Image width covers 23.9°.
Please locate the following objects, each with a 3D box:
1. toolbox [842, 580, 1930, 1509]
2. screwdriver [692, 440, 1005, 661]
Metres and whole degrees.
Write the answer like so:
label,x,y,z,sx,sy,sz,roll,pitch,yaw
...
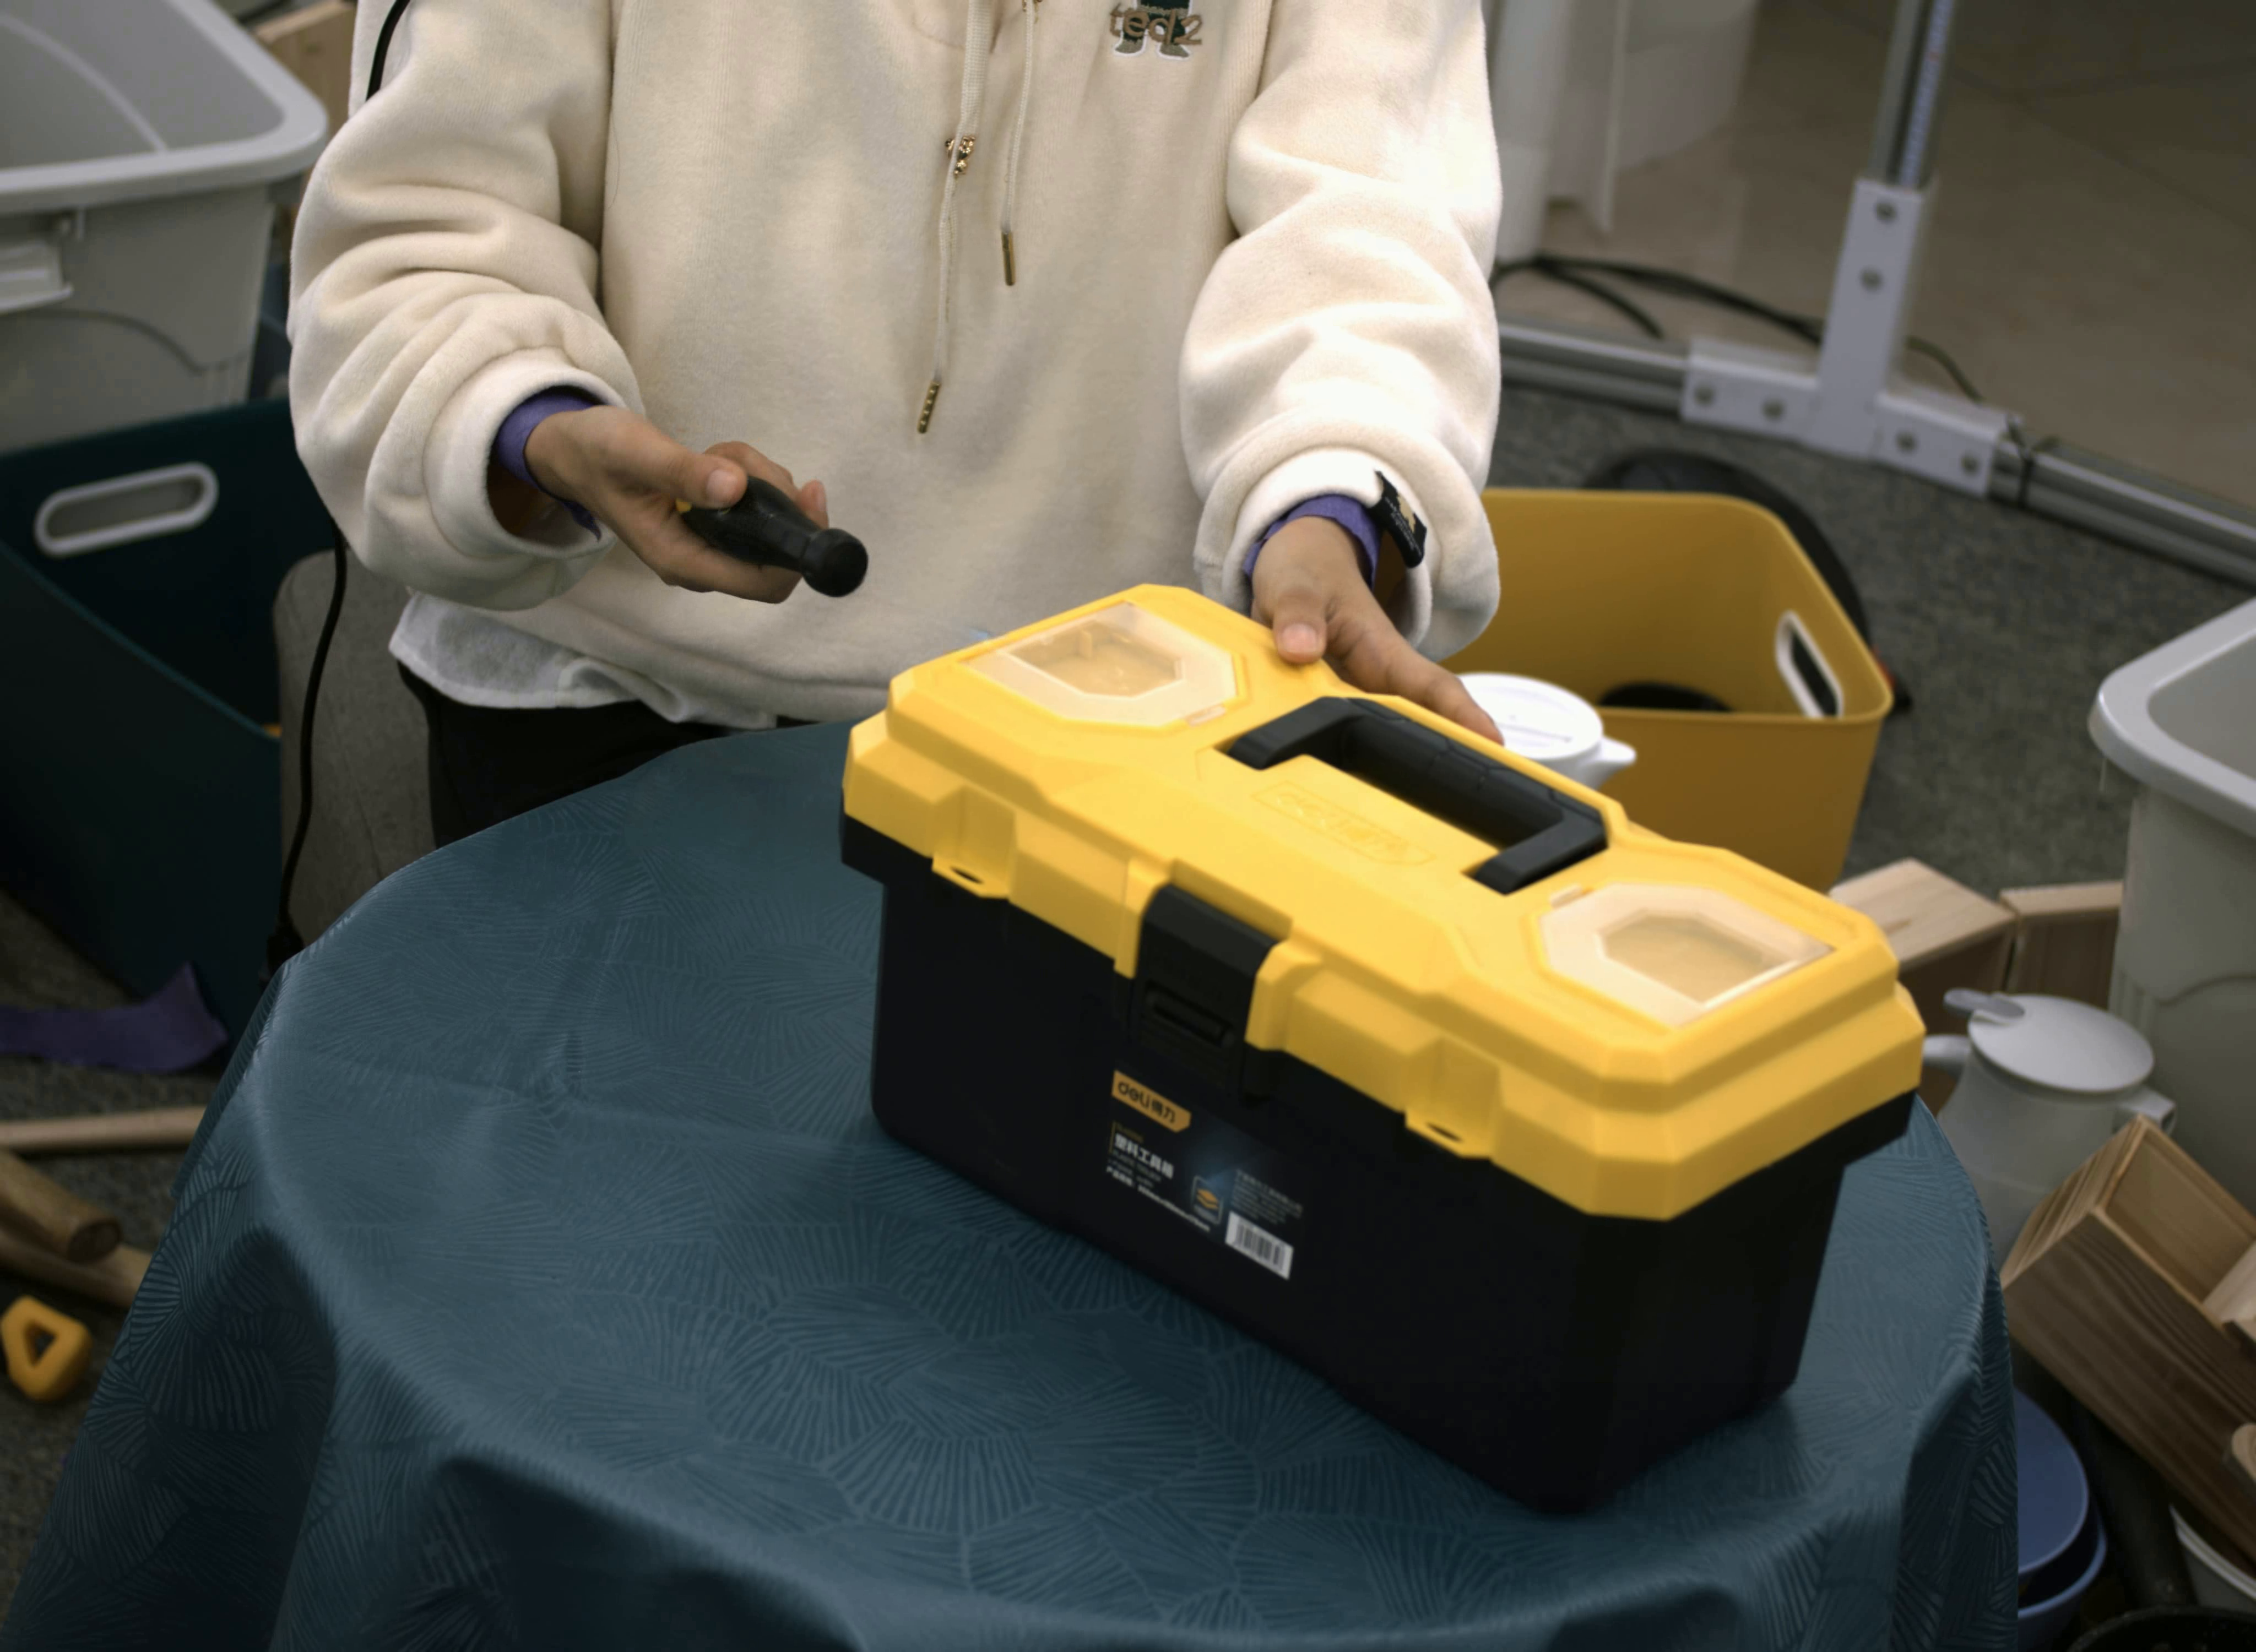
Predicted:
label,x,y,z,sx,sy,sz,roll,pitch,yaw
toolbox,0.072,0.066,1.740,0.354,0.172,0.180,28,33,35
screwdriver,-0.096,-0.096,1.879,0.031,0.031,0.199,-13,28,-34
